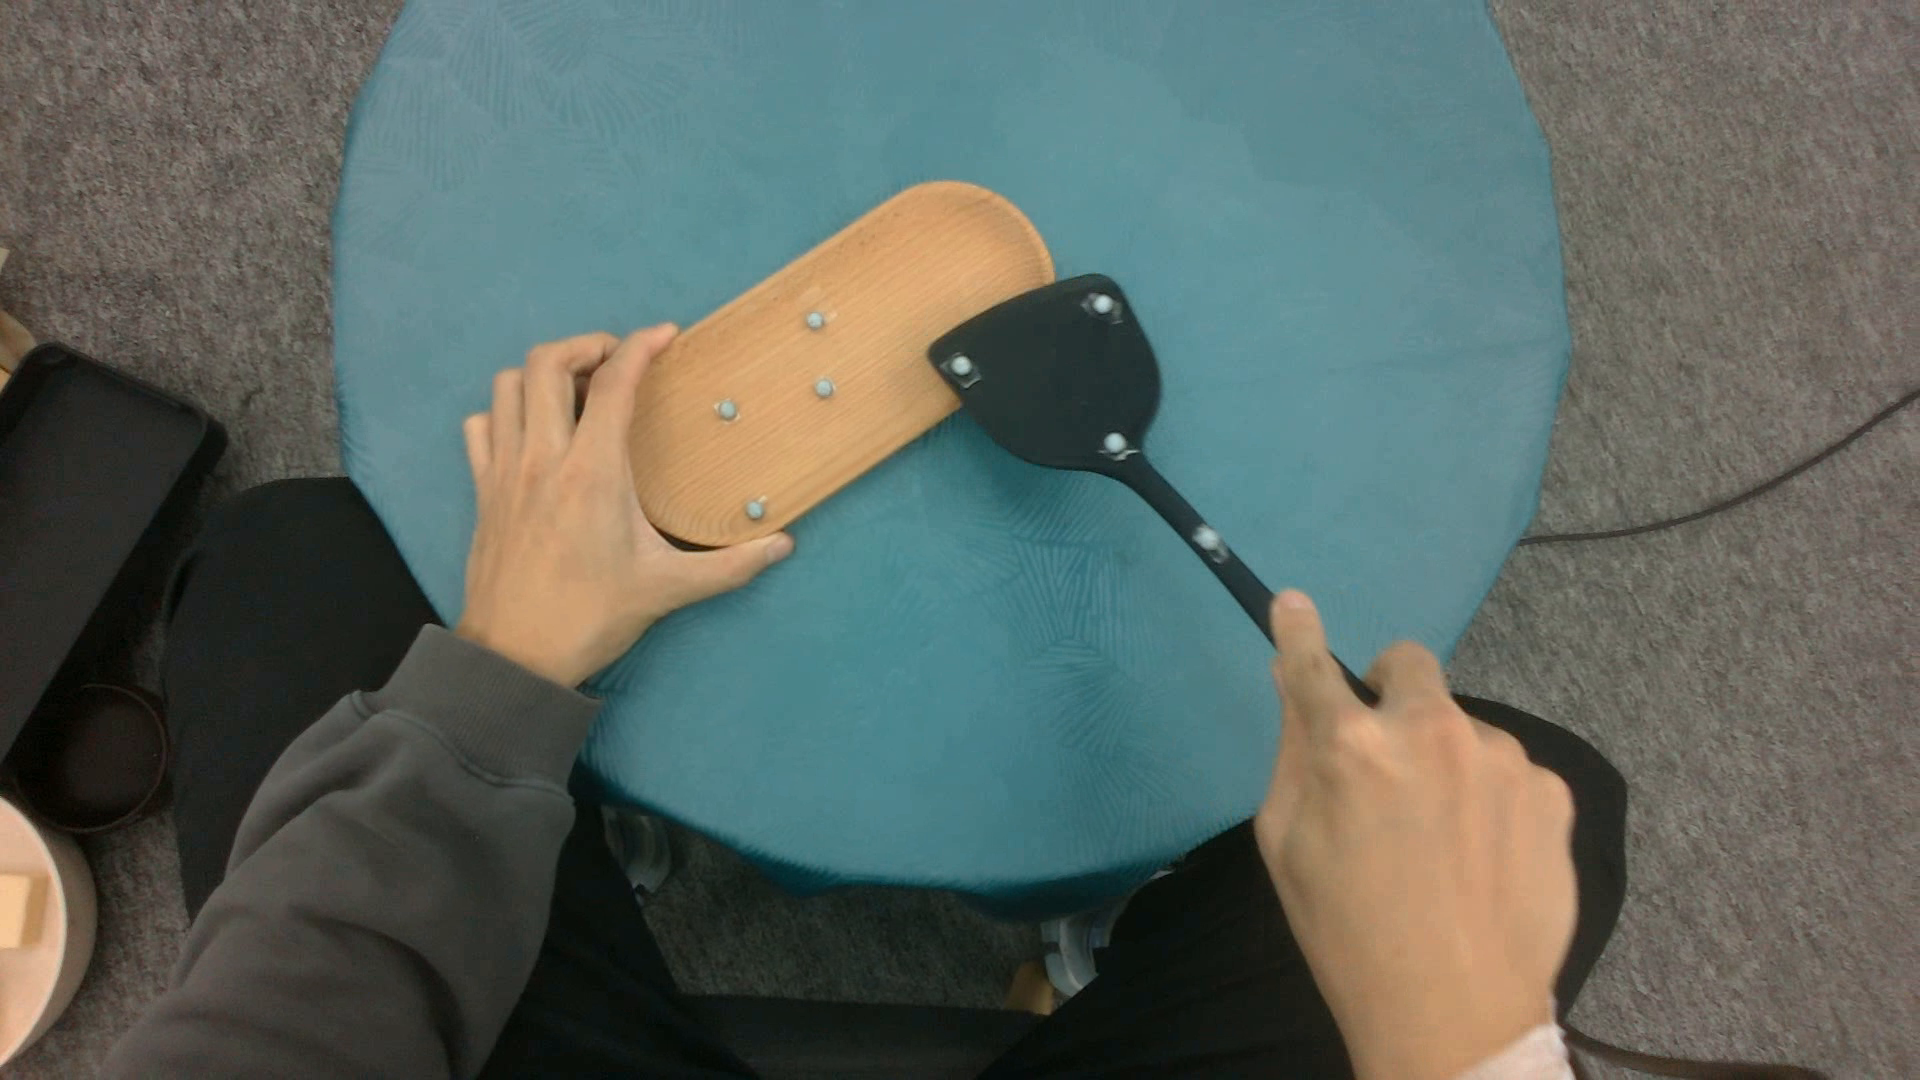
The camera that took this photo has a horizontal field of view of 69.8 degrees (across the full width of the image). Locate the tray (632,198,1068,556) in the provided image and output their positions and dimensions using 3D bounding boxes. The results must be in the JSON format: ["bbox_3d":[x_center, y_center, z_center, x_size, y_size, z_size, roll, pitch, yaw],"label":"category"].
[{"bbox_3d":[-0.051,-0.079,0.664,0.231,0.020,0.101,-35,87,-10],"label":"tray"}]

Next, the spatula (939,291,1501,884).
[{"bbox_3d":[0.100,0.004,0.548,0.100,0.040,0.327,-26,46,-11],"label":"spatula"}]
